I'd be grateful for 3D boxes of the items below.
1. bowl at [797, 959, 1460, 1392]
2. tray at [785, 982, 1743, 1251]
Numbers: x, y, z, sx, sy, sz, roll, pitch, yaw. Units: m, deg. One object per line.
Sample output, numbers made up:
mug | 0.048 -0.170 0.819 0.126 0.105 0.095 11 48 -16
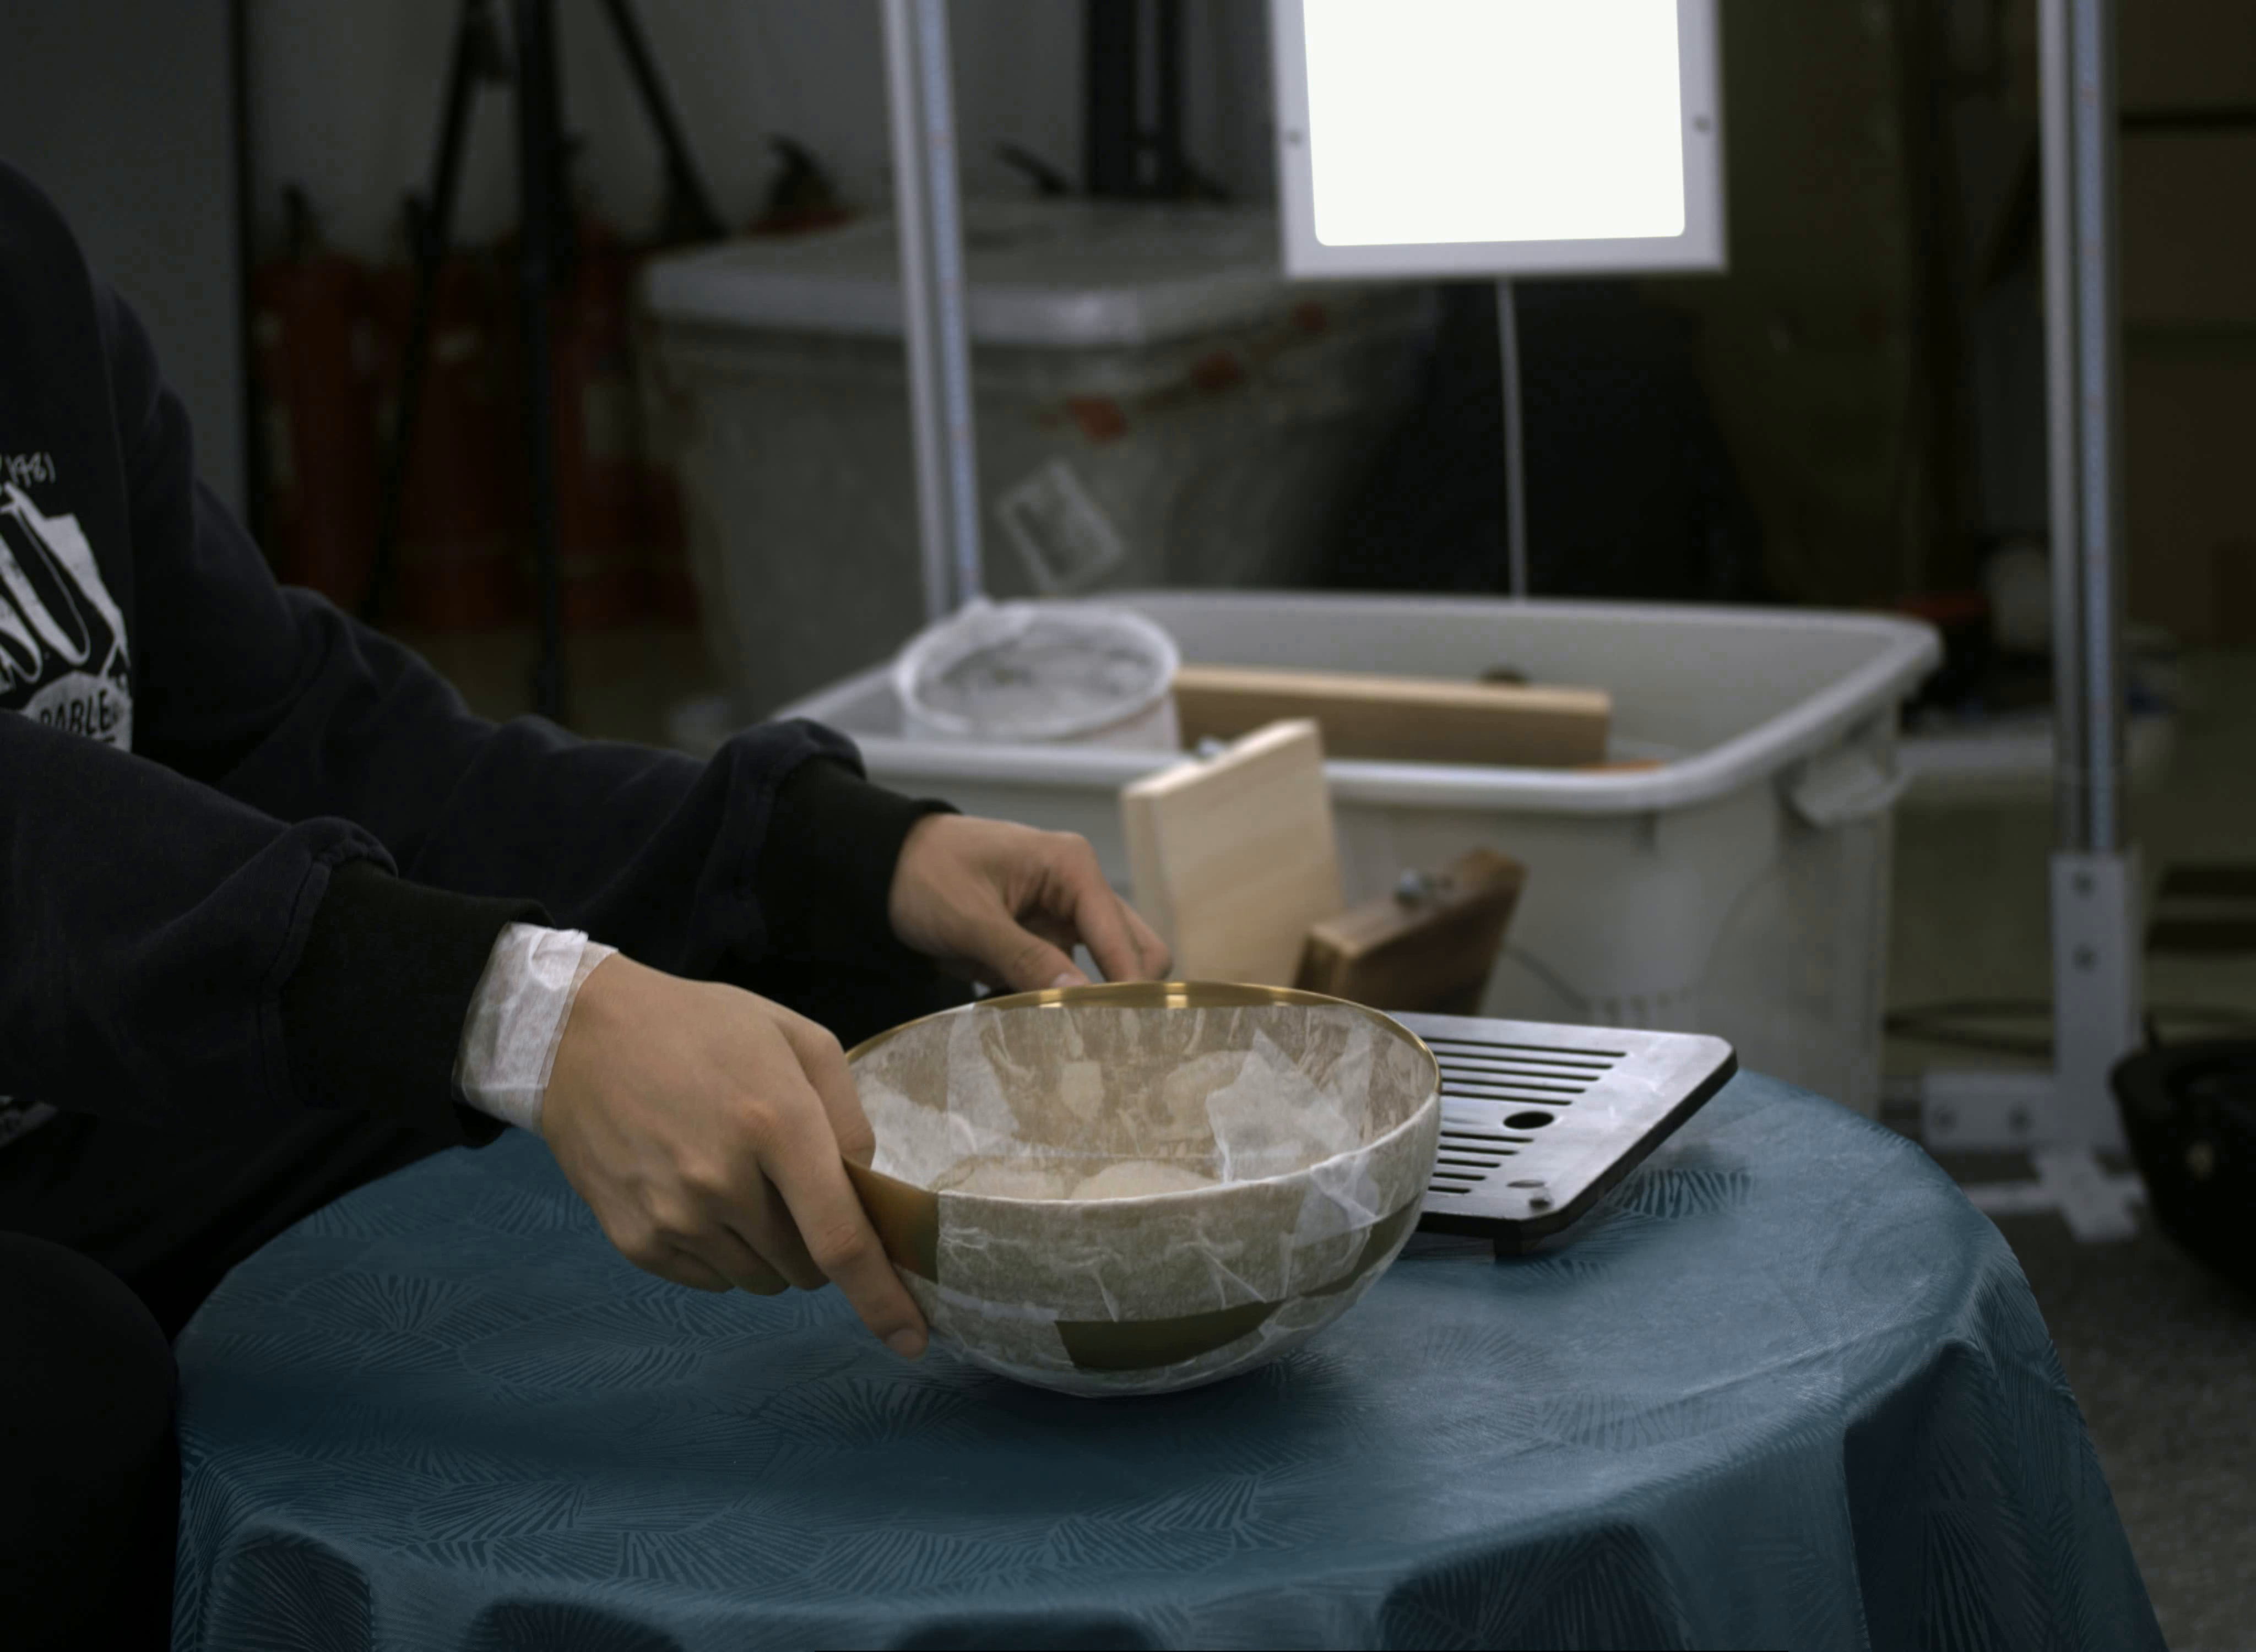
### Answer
bowl | 0.002 0.118 1.722 0.214 0.095 0.214 -4 19 0
tray | 0.047 0.100 1.926 0.312 0.018 0.166 3 21 31
